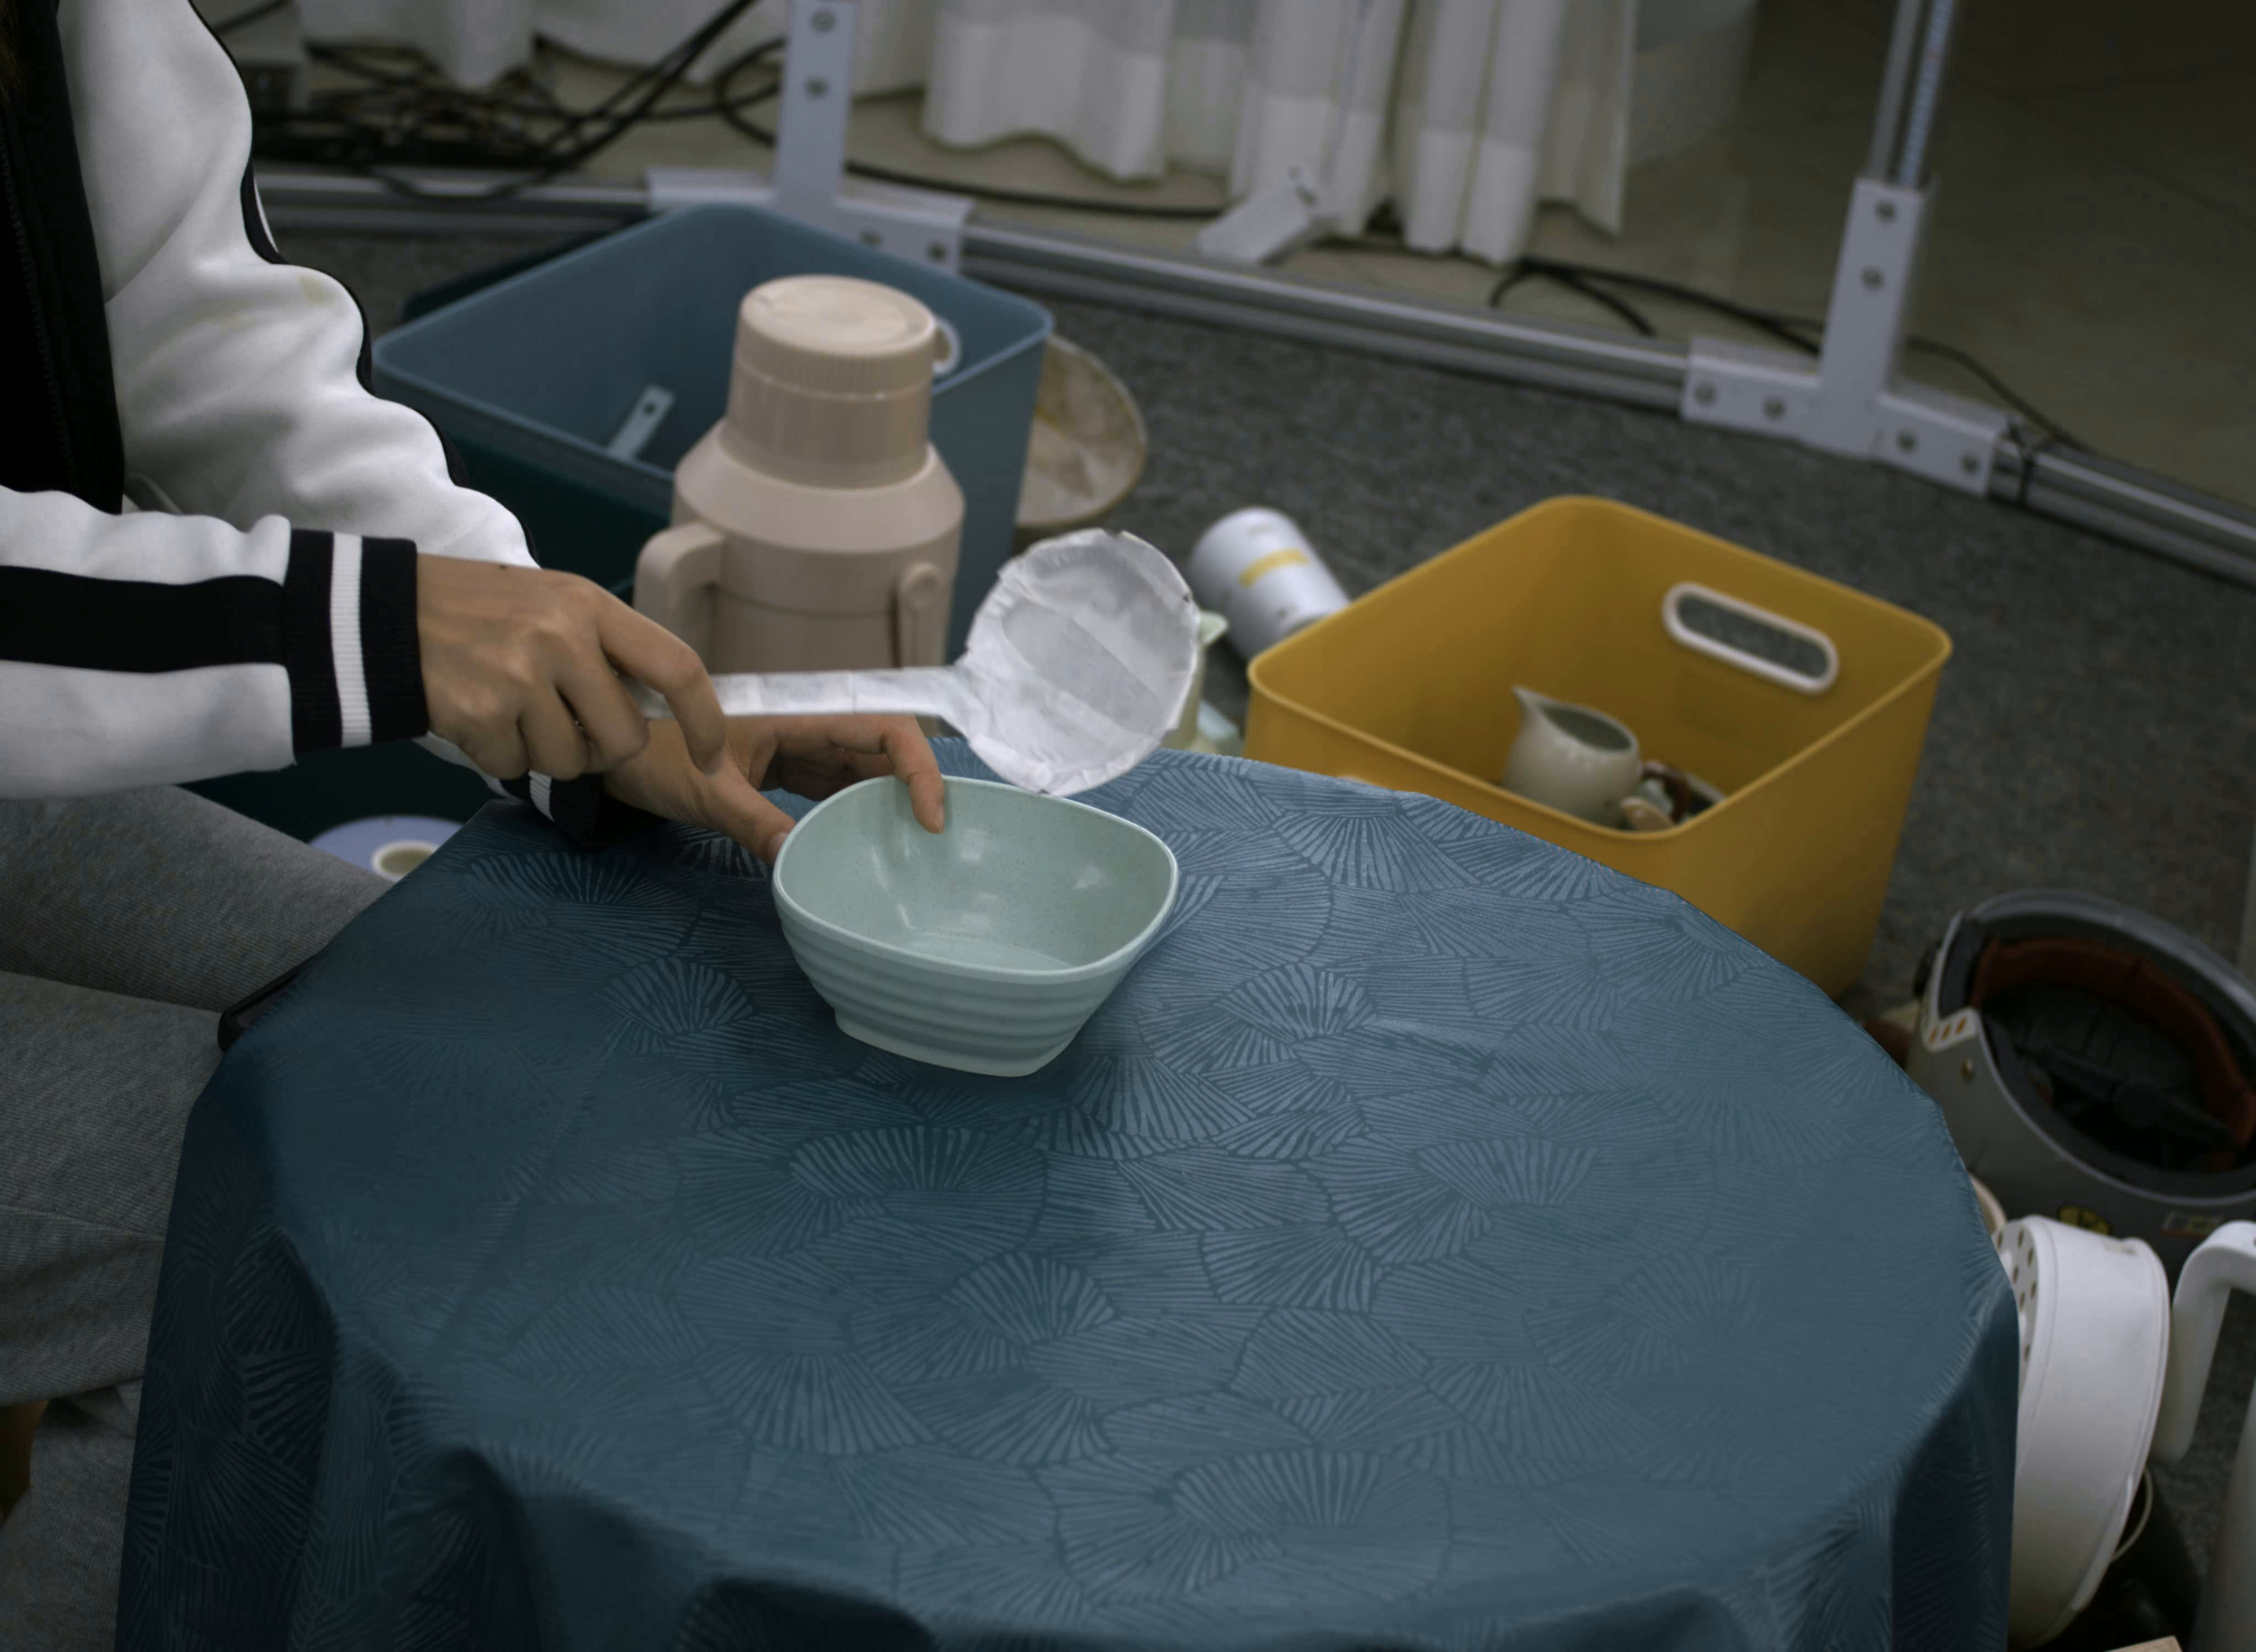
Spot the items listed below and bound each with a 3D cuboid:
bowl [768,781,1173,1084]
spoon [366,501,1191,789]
[{"bbox_3d":[-0.058,0.043,1.890,0.151,0.058,0.152,6,26,-3],"label":"bowl"},{"bbox_3d":[-0.119,-0.063,1.786,0.276,0.059,0.101,2,69,-2],"label":"spoon"}]
